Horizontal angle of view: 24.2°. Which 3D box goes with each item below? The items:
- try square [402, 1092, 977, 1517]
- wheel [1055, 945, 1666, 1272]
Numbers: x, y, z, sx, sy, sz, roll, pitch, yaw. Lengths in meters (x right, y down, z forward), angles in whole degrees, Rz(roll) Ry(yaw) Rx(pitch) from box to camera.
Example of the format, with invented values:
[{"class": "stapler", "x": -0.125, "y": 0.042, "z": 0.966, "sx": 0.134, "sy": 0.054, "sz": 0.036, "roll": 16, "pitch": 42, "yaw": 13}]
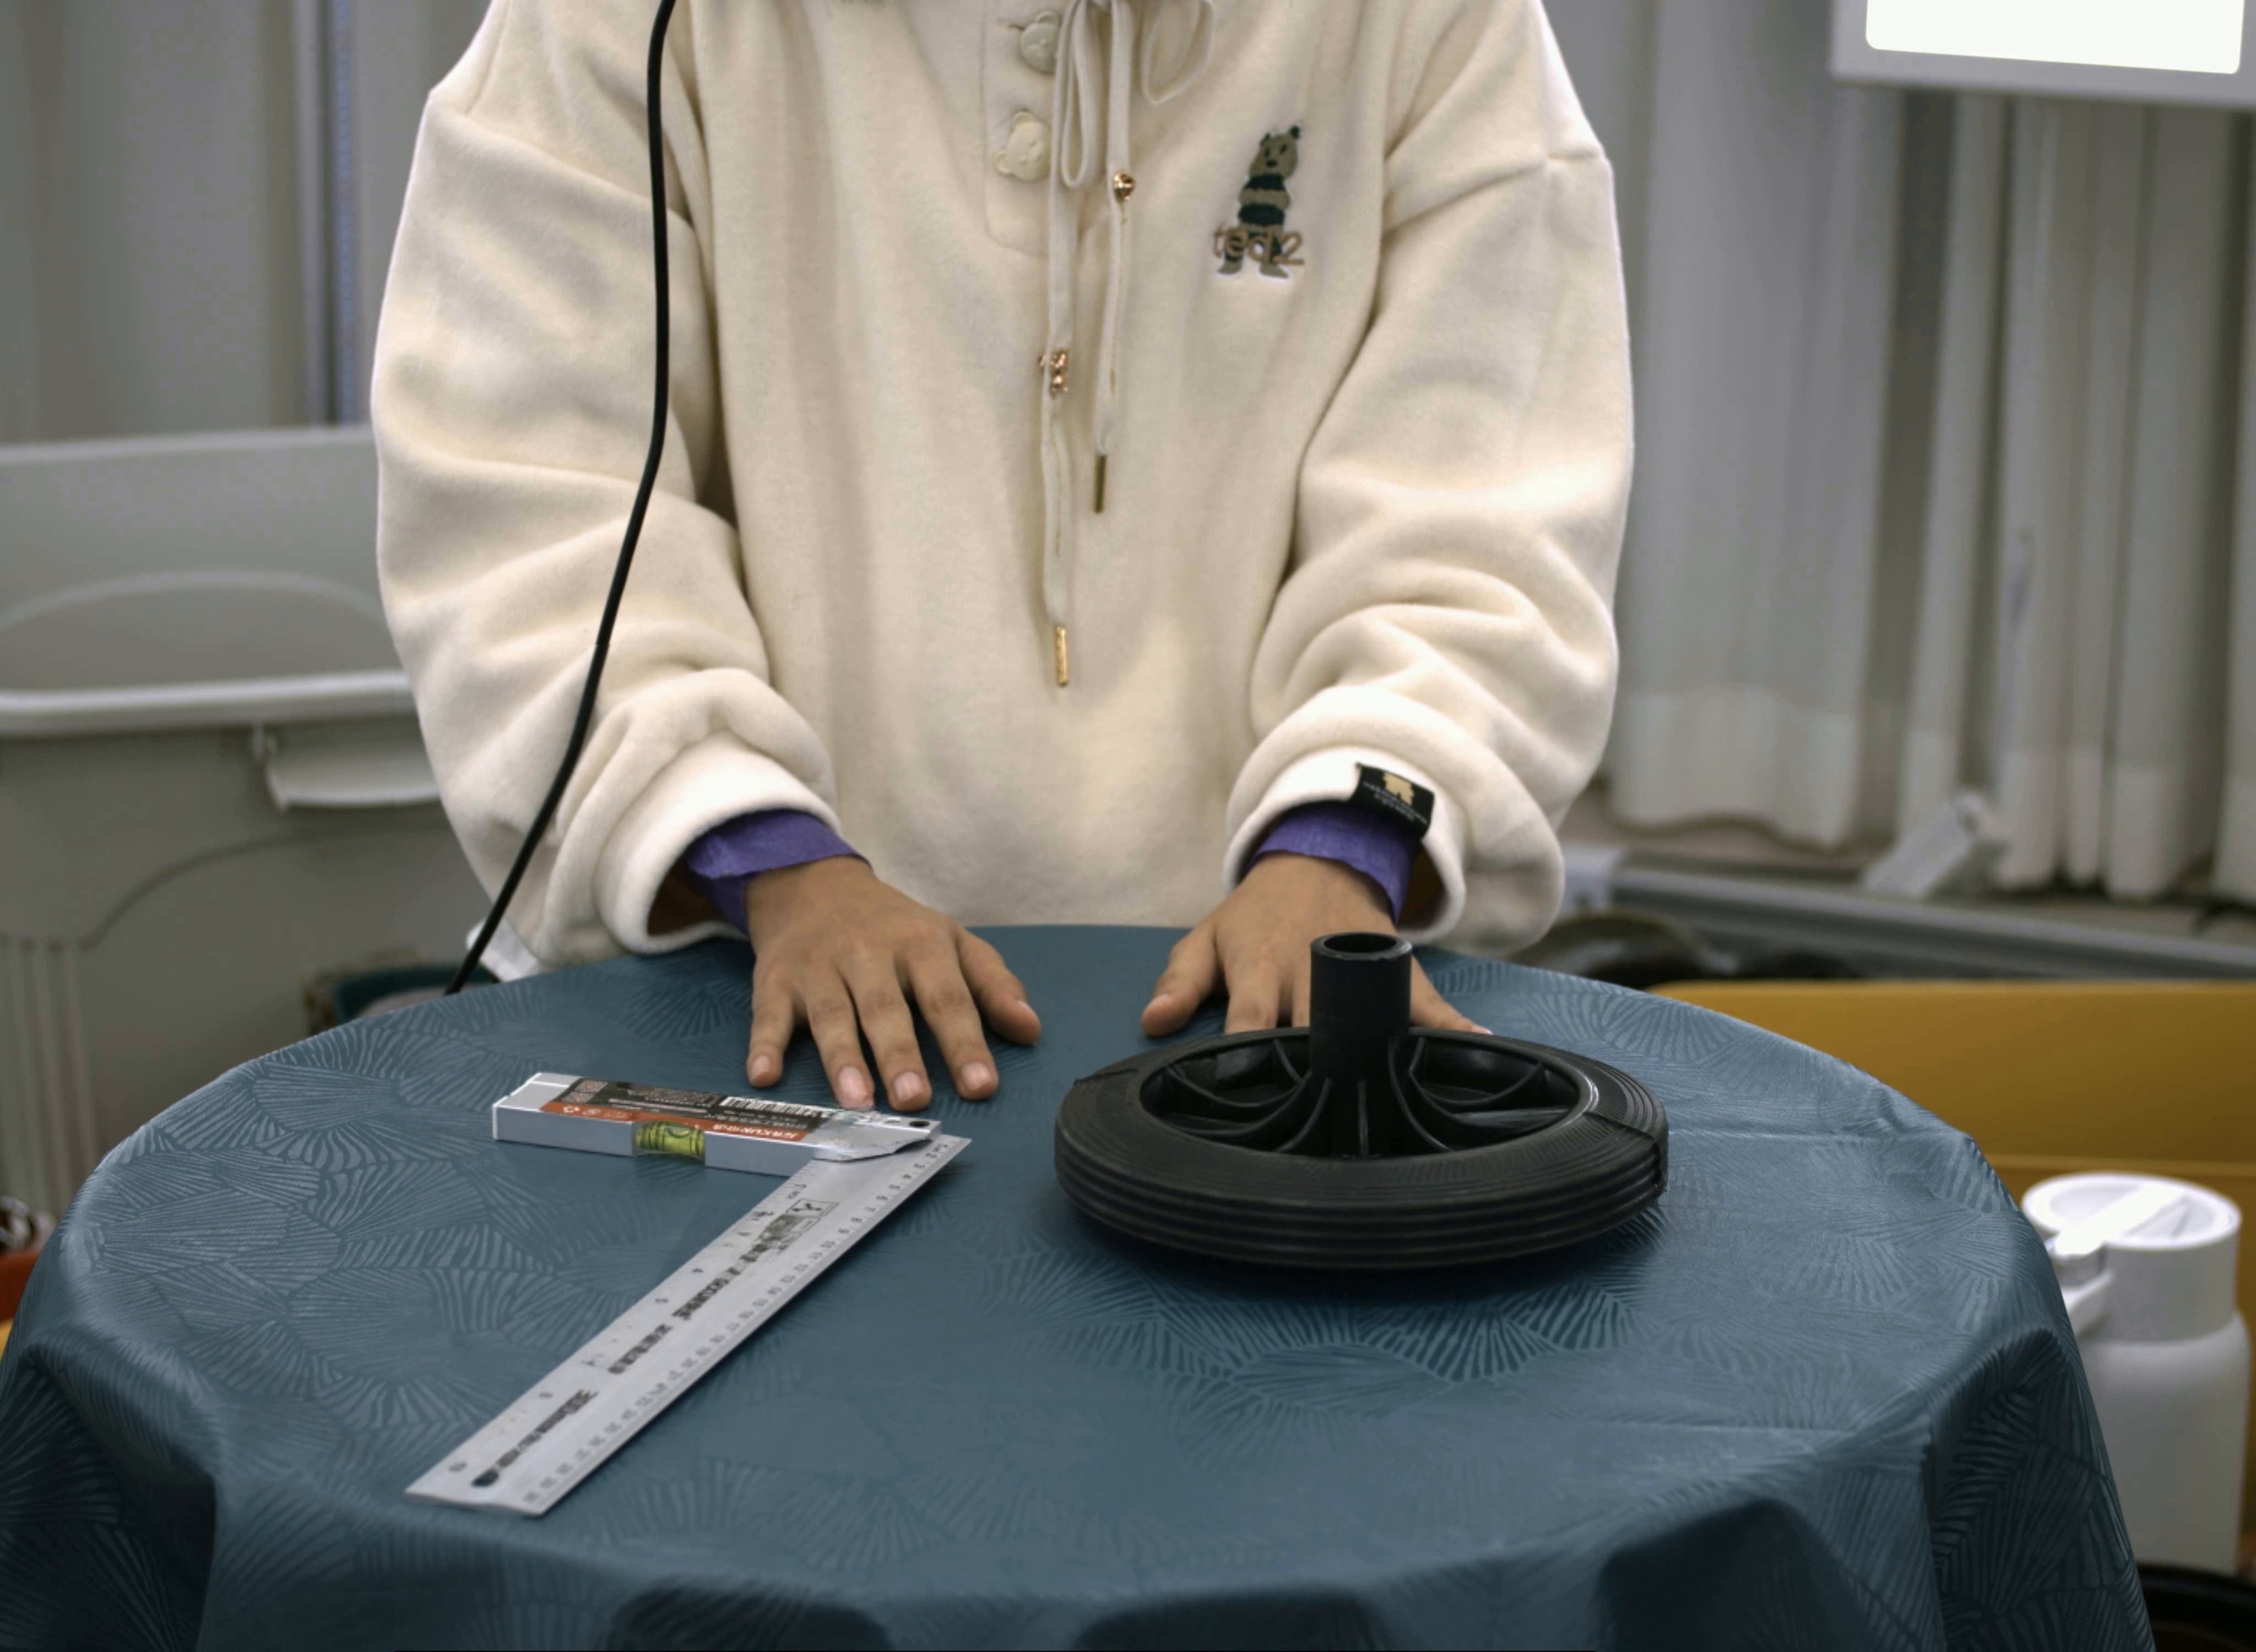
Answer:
[{"class": "try square", "x": -0.169, "y": 0.134, "z": 1.531, "sx": 0.151, "sy": 0.016, "sz": 0.313, "roll": 3, "pitch": 16, "yaw": 20}, {"class": "wheel", "x": 0.071, "y": 0.078, "z": 1.604, "sx": 0.191, "sy": 0.080, "sz": 0.185, "roll": -9, "pitch": 17, "yaw": -33}]
